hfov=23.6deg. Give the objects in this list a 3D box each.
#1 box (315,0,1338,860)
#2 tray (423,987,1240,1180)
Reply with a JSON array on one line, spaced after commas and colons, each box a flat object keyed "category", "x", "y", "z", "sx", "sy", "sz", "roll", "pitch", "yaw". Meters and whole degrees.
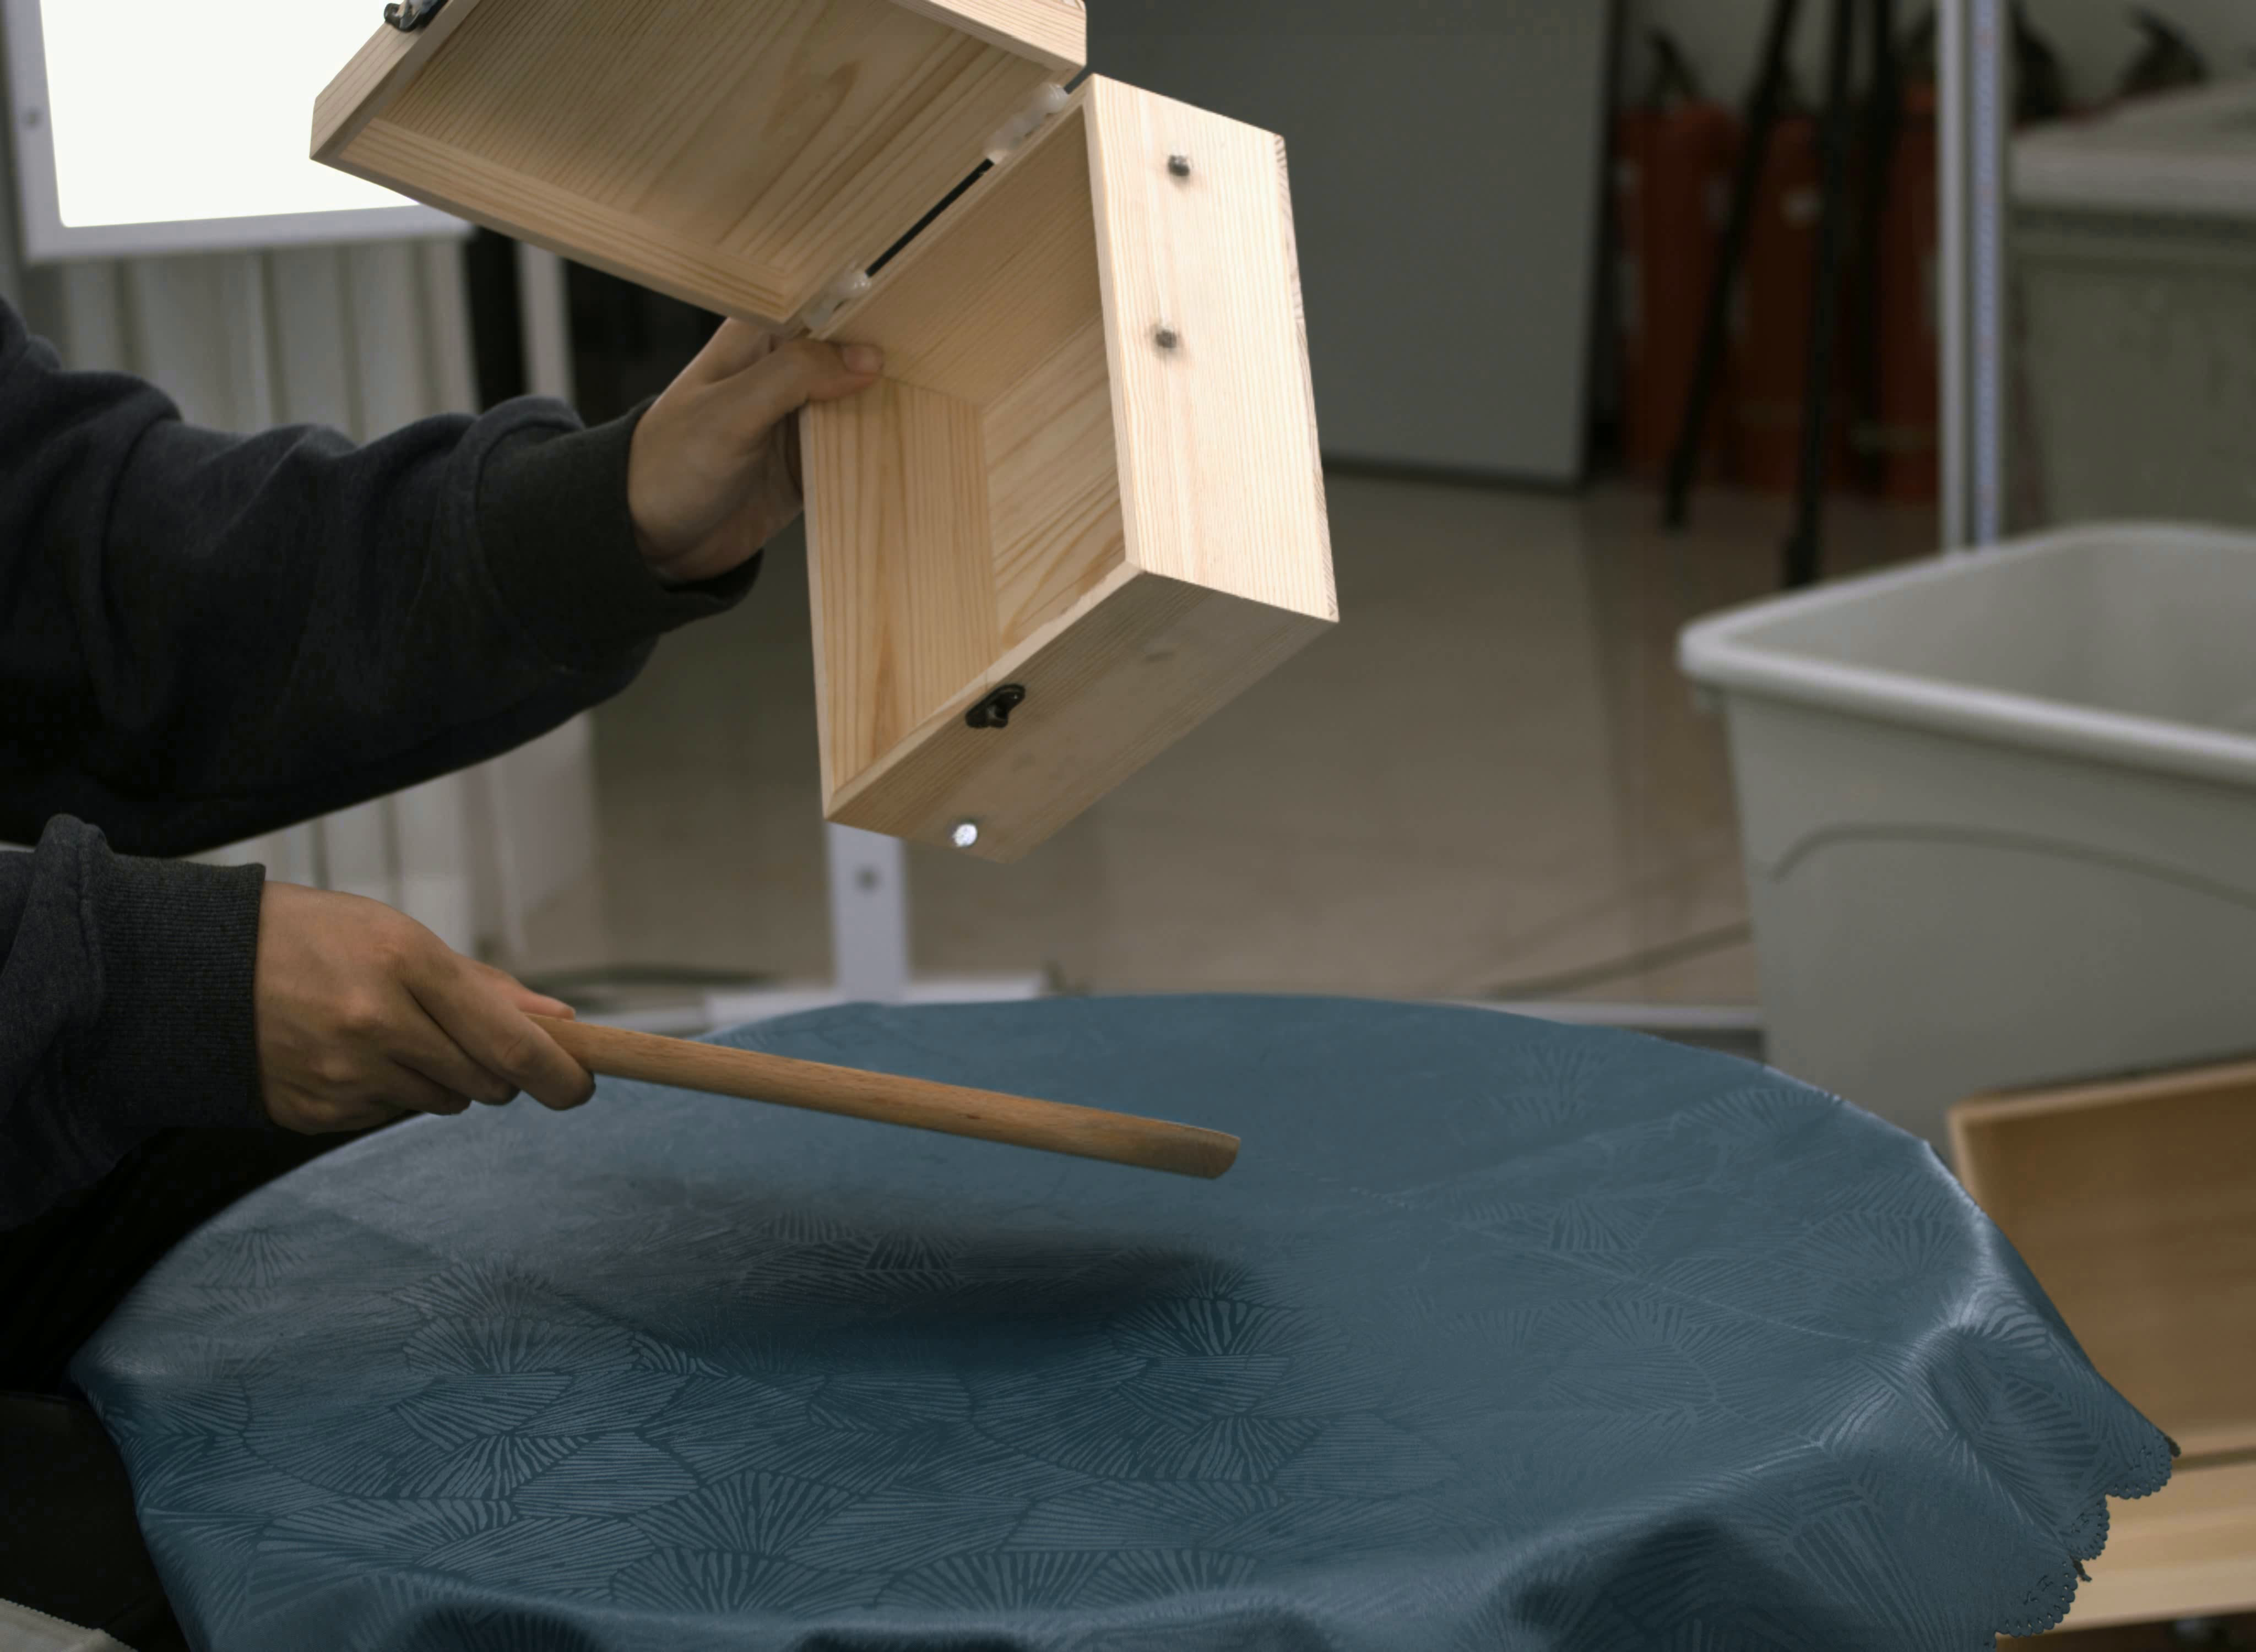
[{"category": "box", "x": -0.099, "y": -0.165, "z": 1.682, "sx": 0.247, "sy": 0.268, "sz": 0.183, "roll": 16, "pitch": -36, "yaw": -33}, {"category": "tray", "x": -0.093, "y": 0.081, "z": 1.690, "sx": 0.250, "sy": 0.023, "sz": 0.129, "roll": 8, "pitch": -8, "yaw": 20}]
